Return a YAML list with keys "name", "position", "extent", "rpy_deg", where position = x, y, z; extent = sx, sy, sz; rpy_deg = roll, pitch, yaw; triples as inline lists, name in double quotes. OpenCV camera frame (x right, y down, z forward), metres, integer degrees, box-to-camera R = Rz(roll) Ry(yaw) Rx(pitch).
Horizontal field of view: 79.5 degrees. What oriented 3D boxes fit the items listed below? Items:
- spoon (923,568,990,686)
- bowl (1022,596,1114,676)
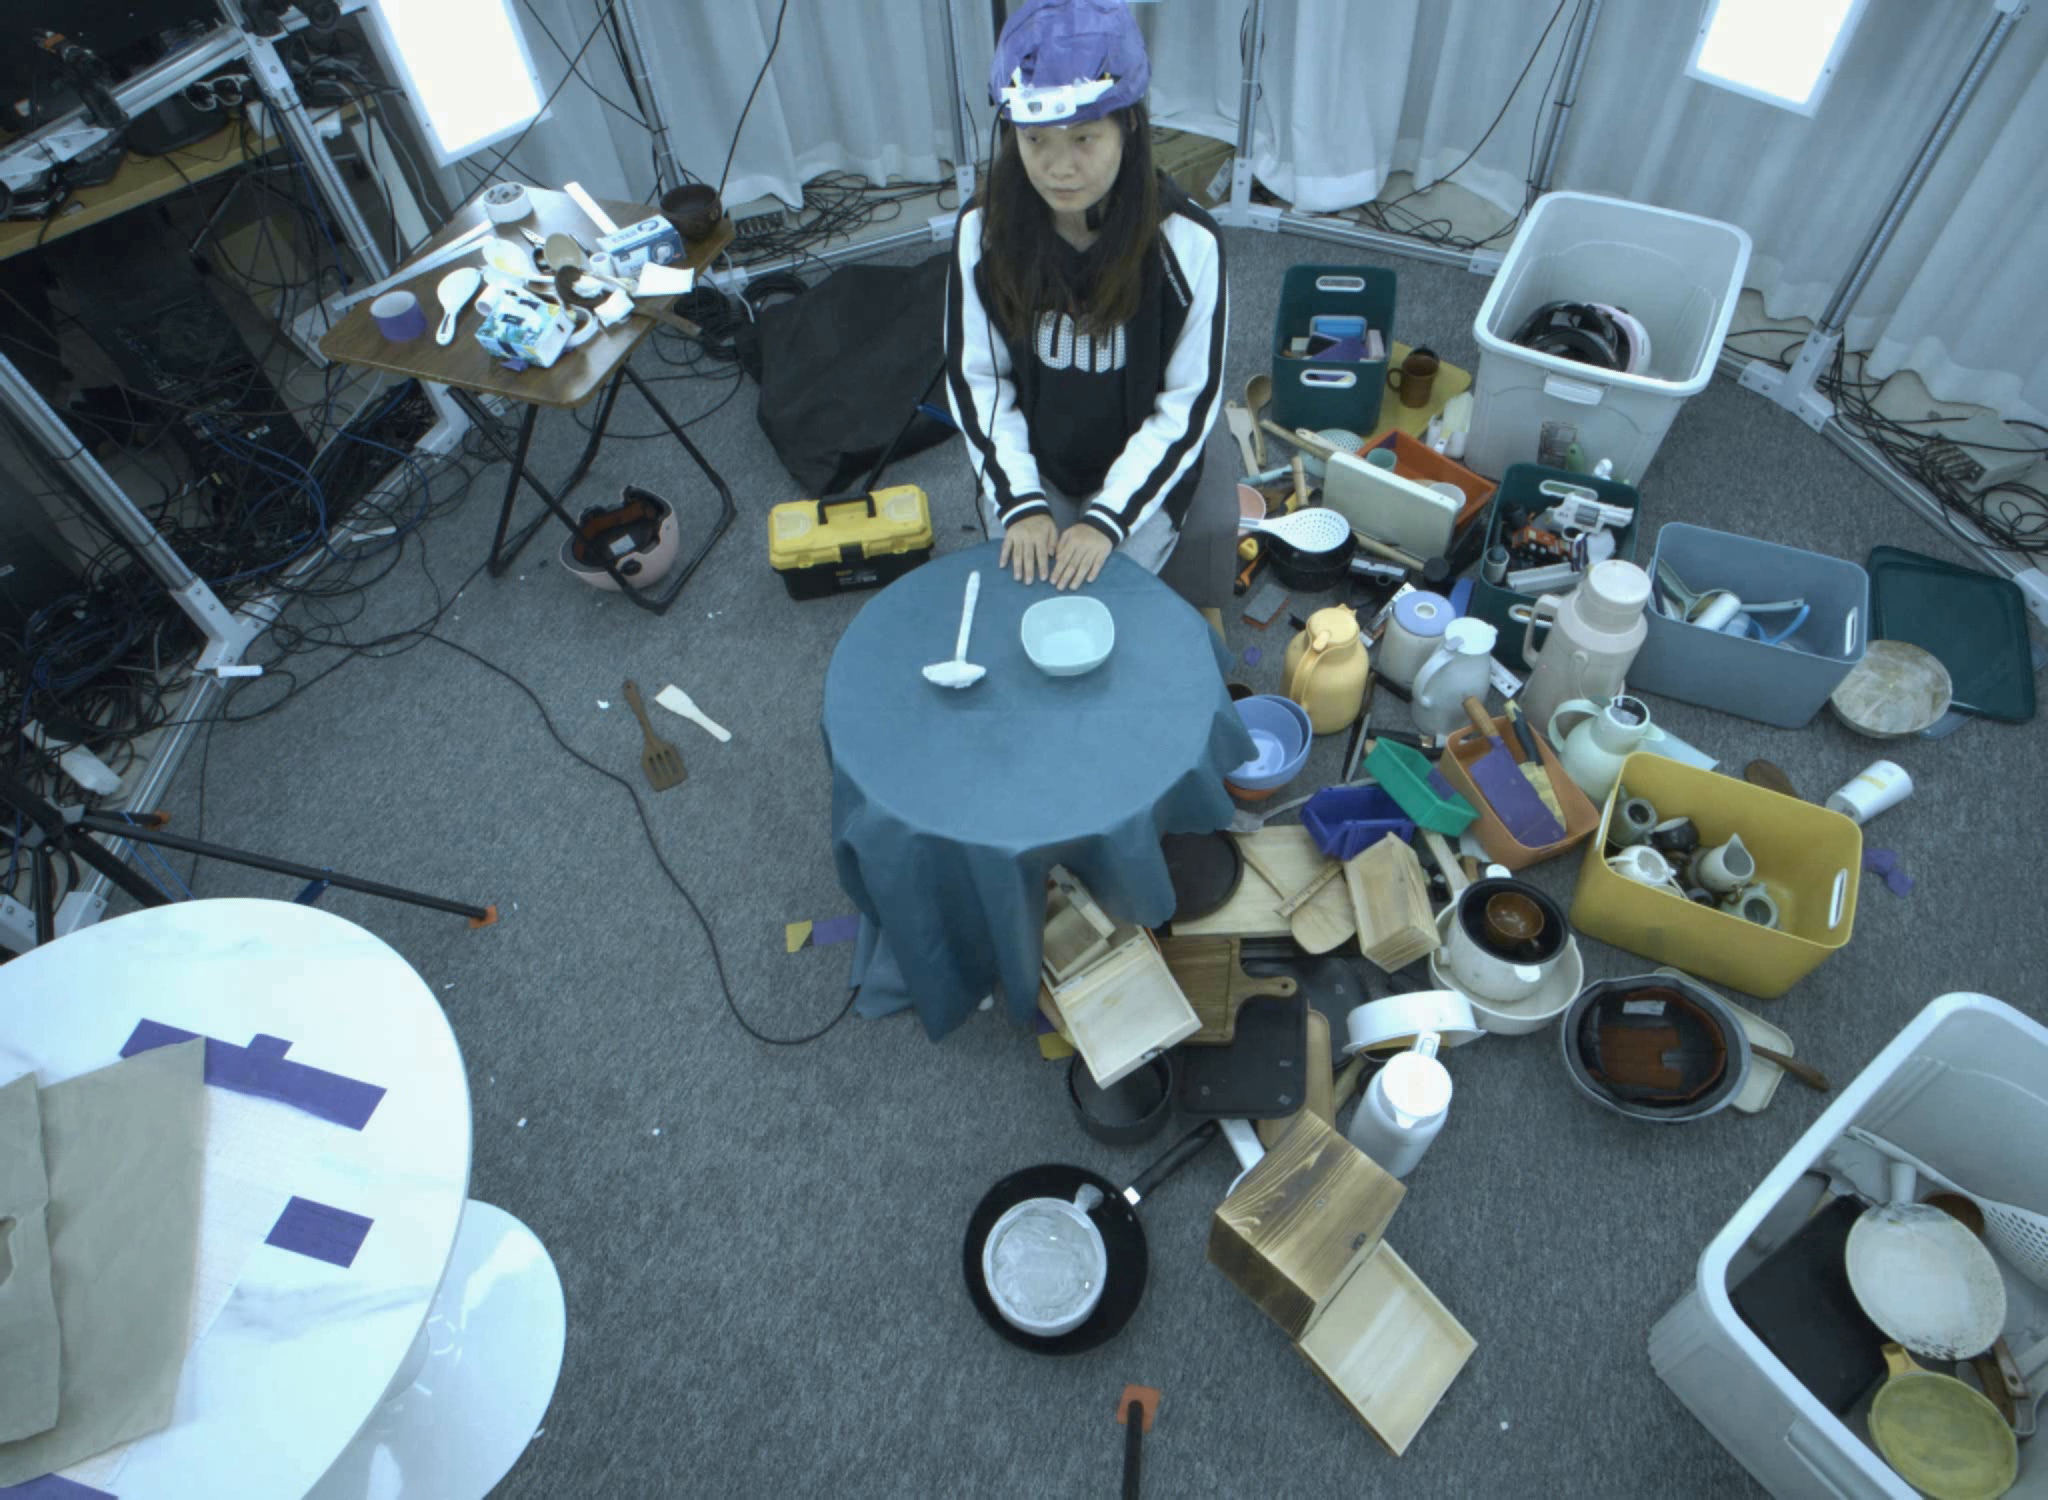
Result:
- name: "spoon"
  position: [-0.086, -0.197, 1.895]
  extent: [0.100, 0.060, 0.275]
  rpy_deg: [9, 56, 3]
- name: "bowl"
  position: [0.068, -0.164, 1.869]
  extent: [0.151, 0.059, 0.150]
  rpy_deg: [-1, 55, 3]
